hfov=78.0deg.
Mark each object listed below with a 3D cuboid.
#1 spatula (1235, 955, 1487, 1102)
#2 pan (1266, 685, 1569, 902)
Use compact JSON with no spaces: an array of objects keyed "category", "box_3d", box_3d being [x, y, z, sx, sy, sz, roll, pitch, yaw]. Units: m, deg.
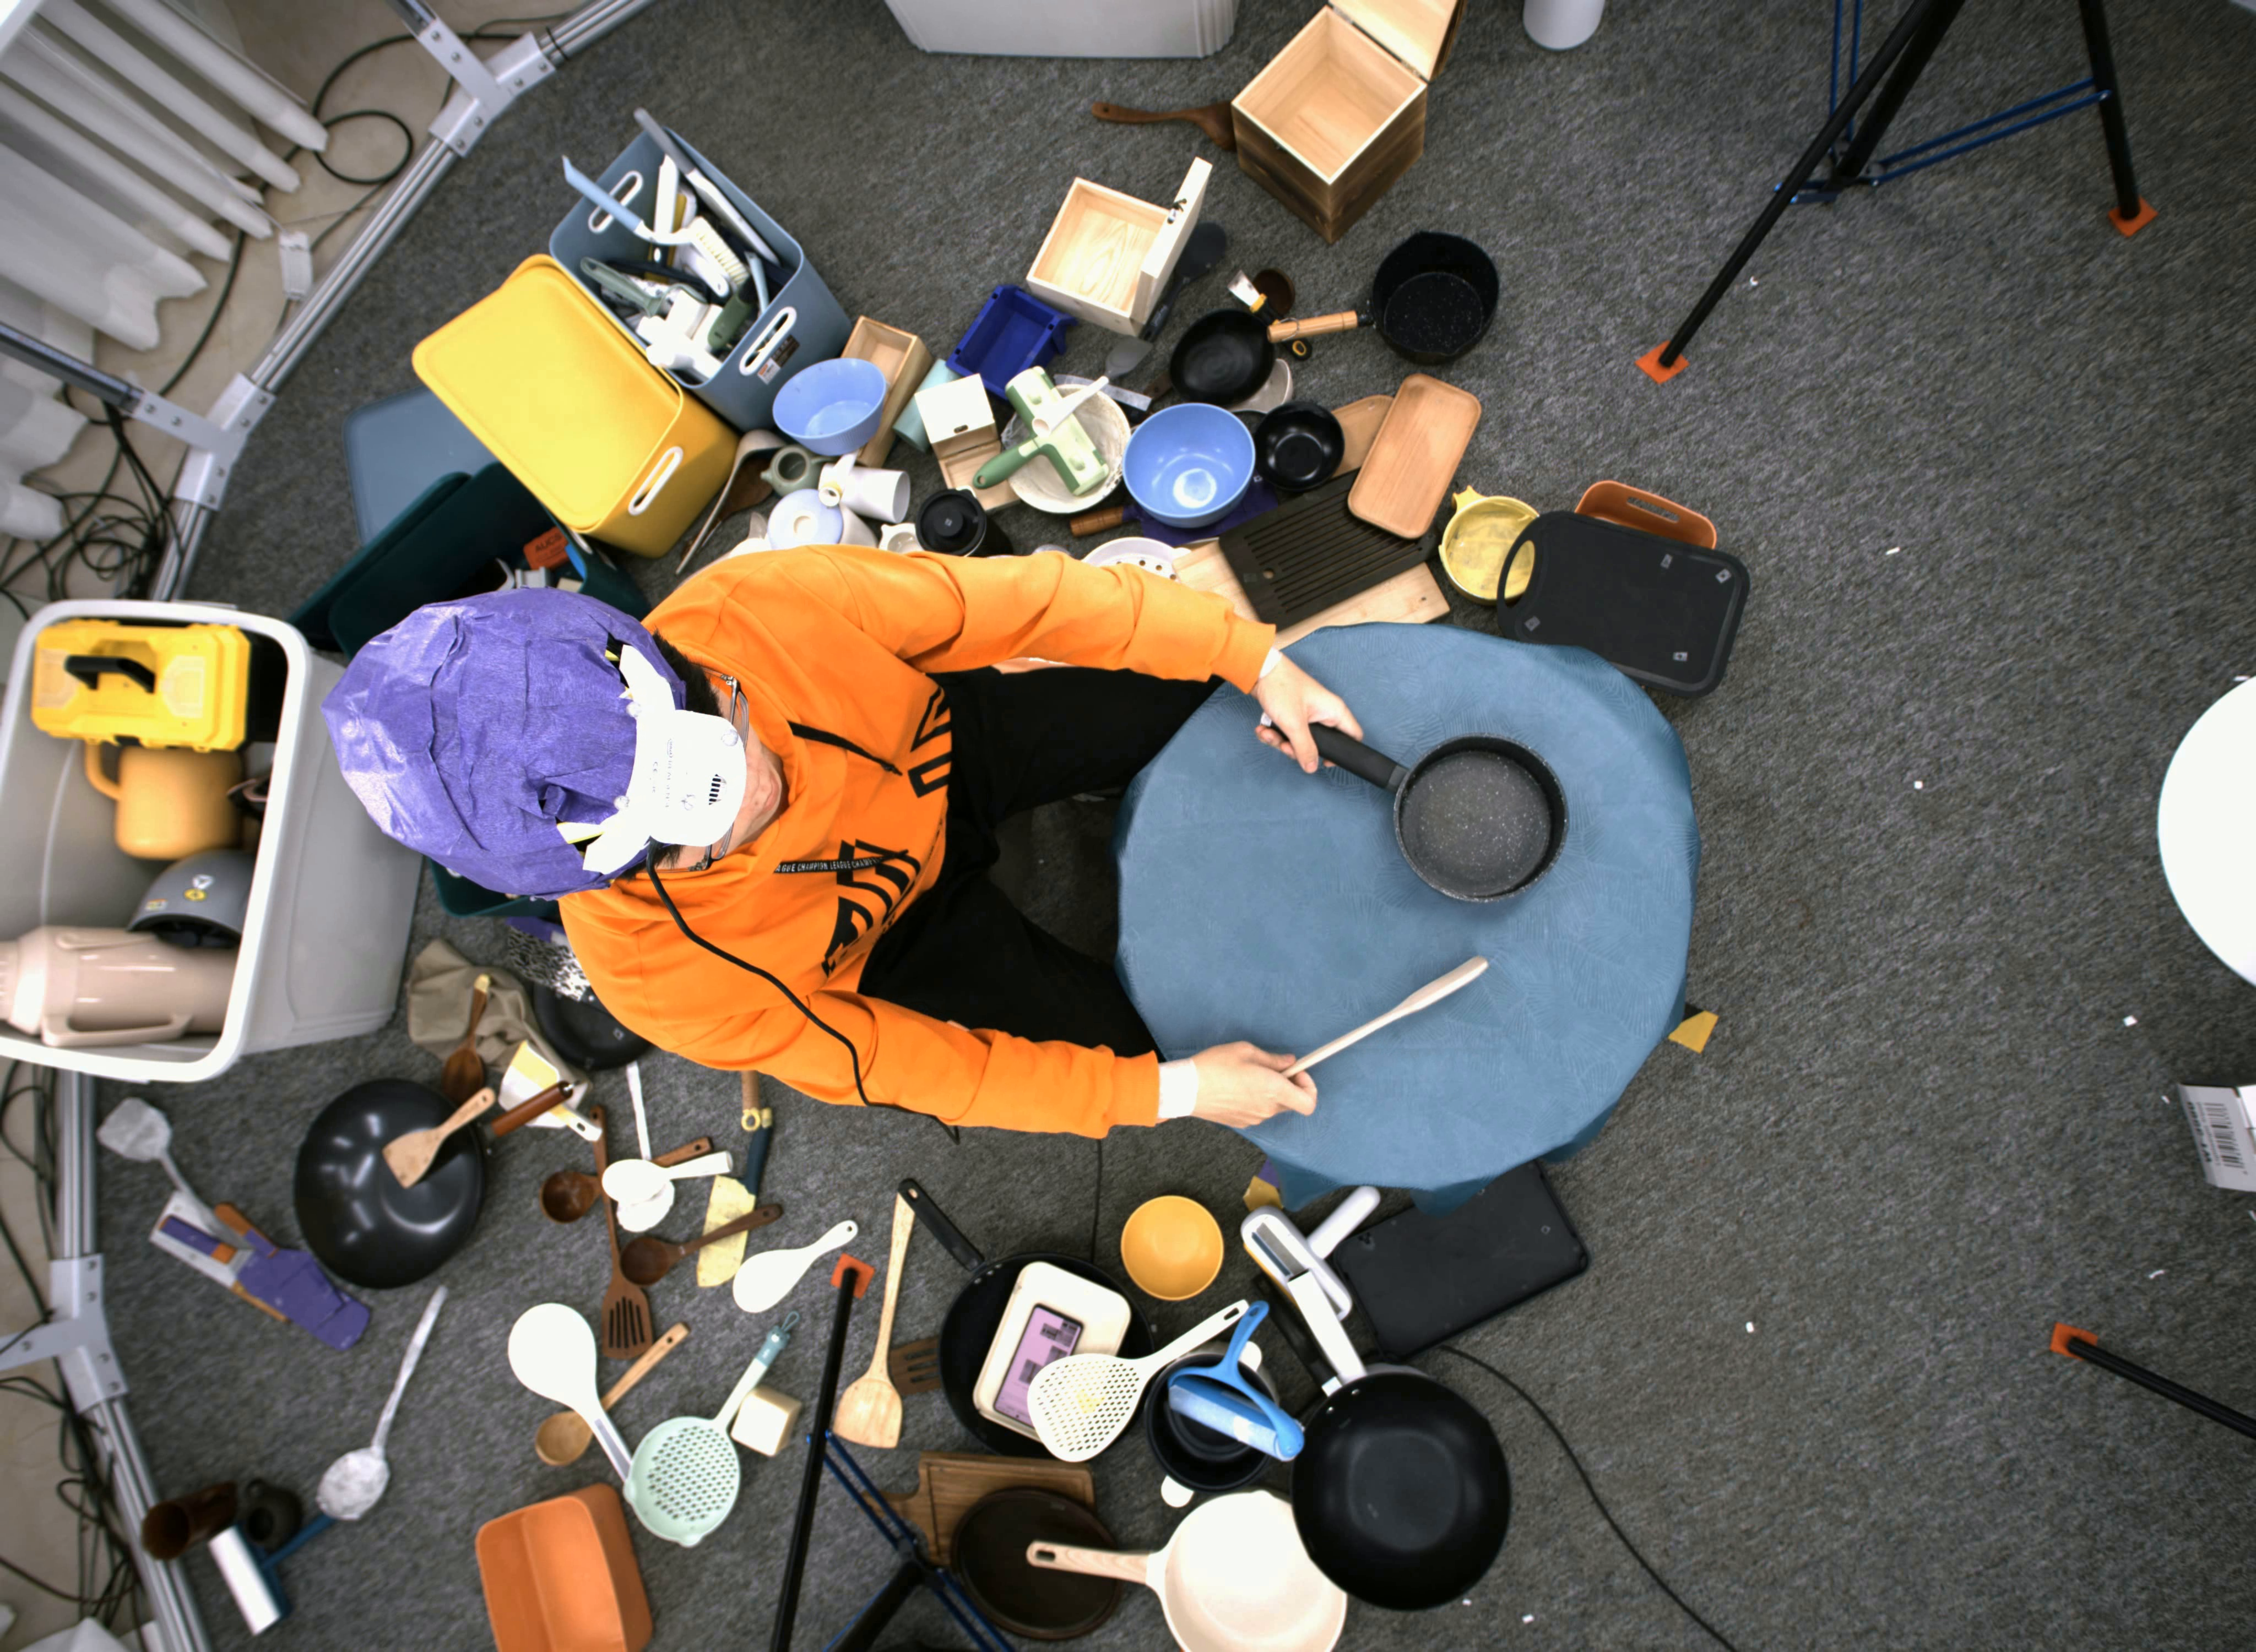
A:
[{"category":"spatula","box_3d":[0.237,0.212,1.425,0.295,0.071,0.011,-30,94,9]},{"category":"pan","box_3d":[0.290,-0.046,1.419,0.328,0.086,0.172,30,91,9]}]
